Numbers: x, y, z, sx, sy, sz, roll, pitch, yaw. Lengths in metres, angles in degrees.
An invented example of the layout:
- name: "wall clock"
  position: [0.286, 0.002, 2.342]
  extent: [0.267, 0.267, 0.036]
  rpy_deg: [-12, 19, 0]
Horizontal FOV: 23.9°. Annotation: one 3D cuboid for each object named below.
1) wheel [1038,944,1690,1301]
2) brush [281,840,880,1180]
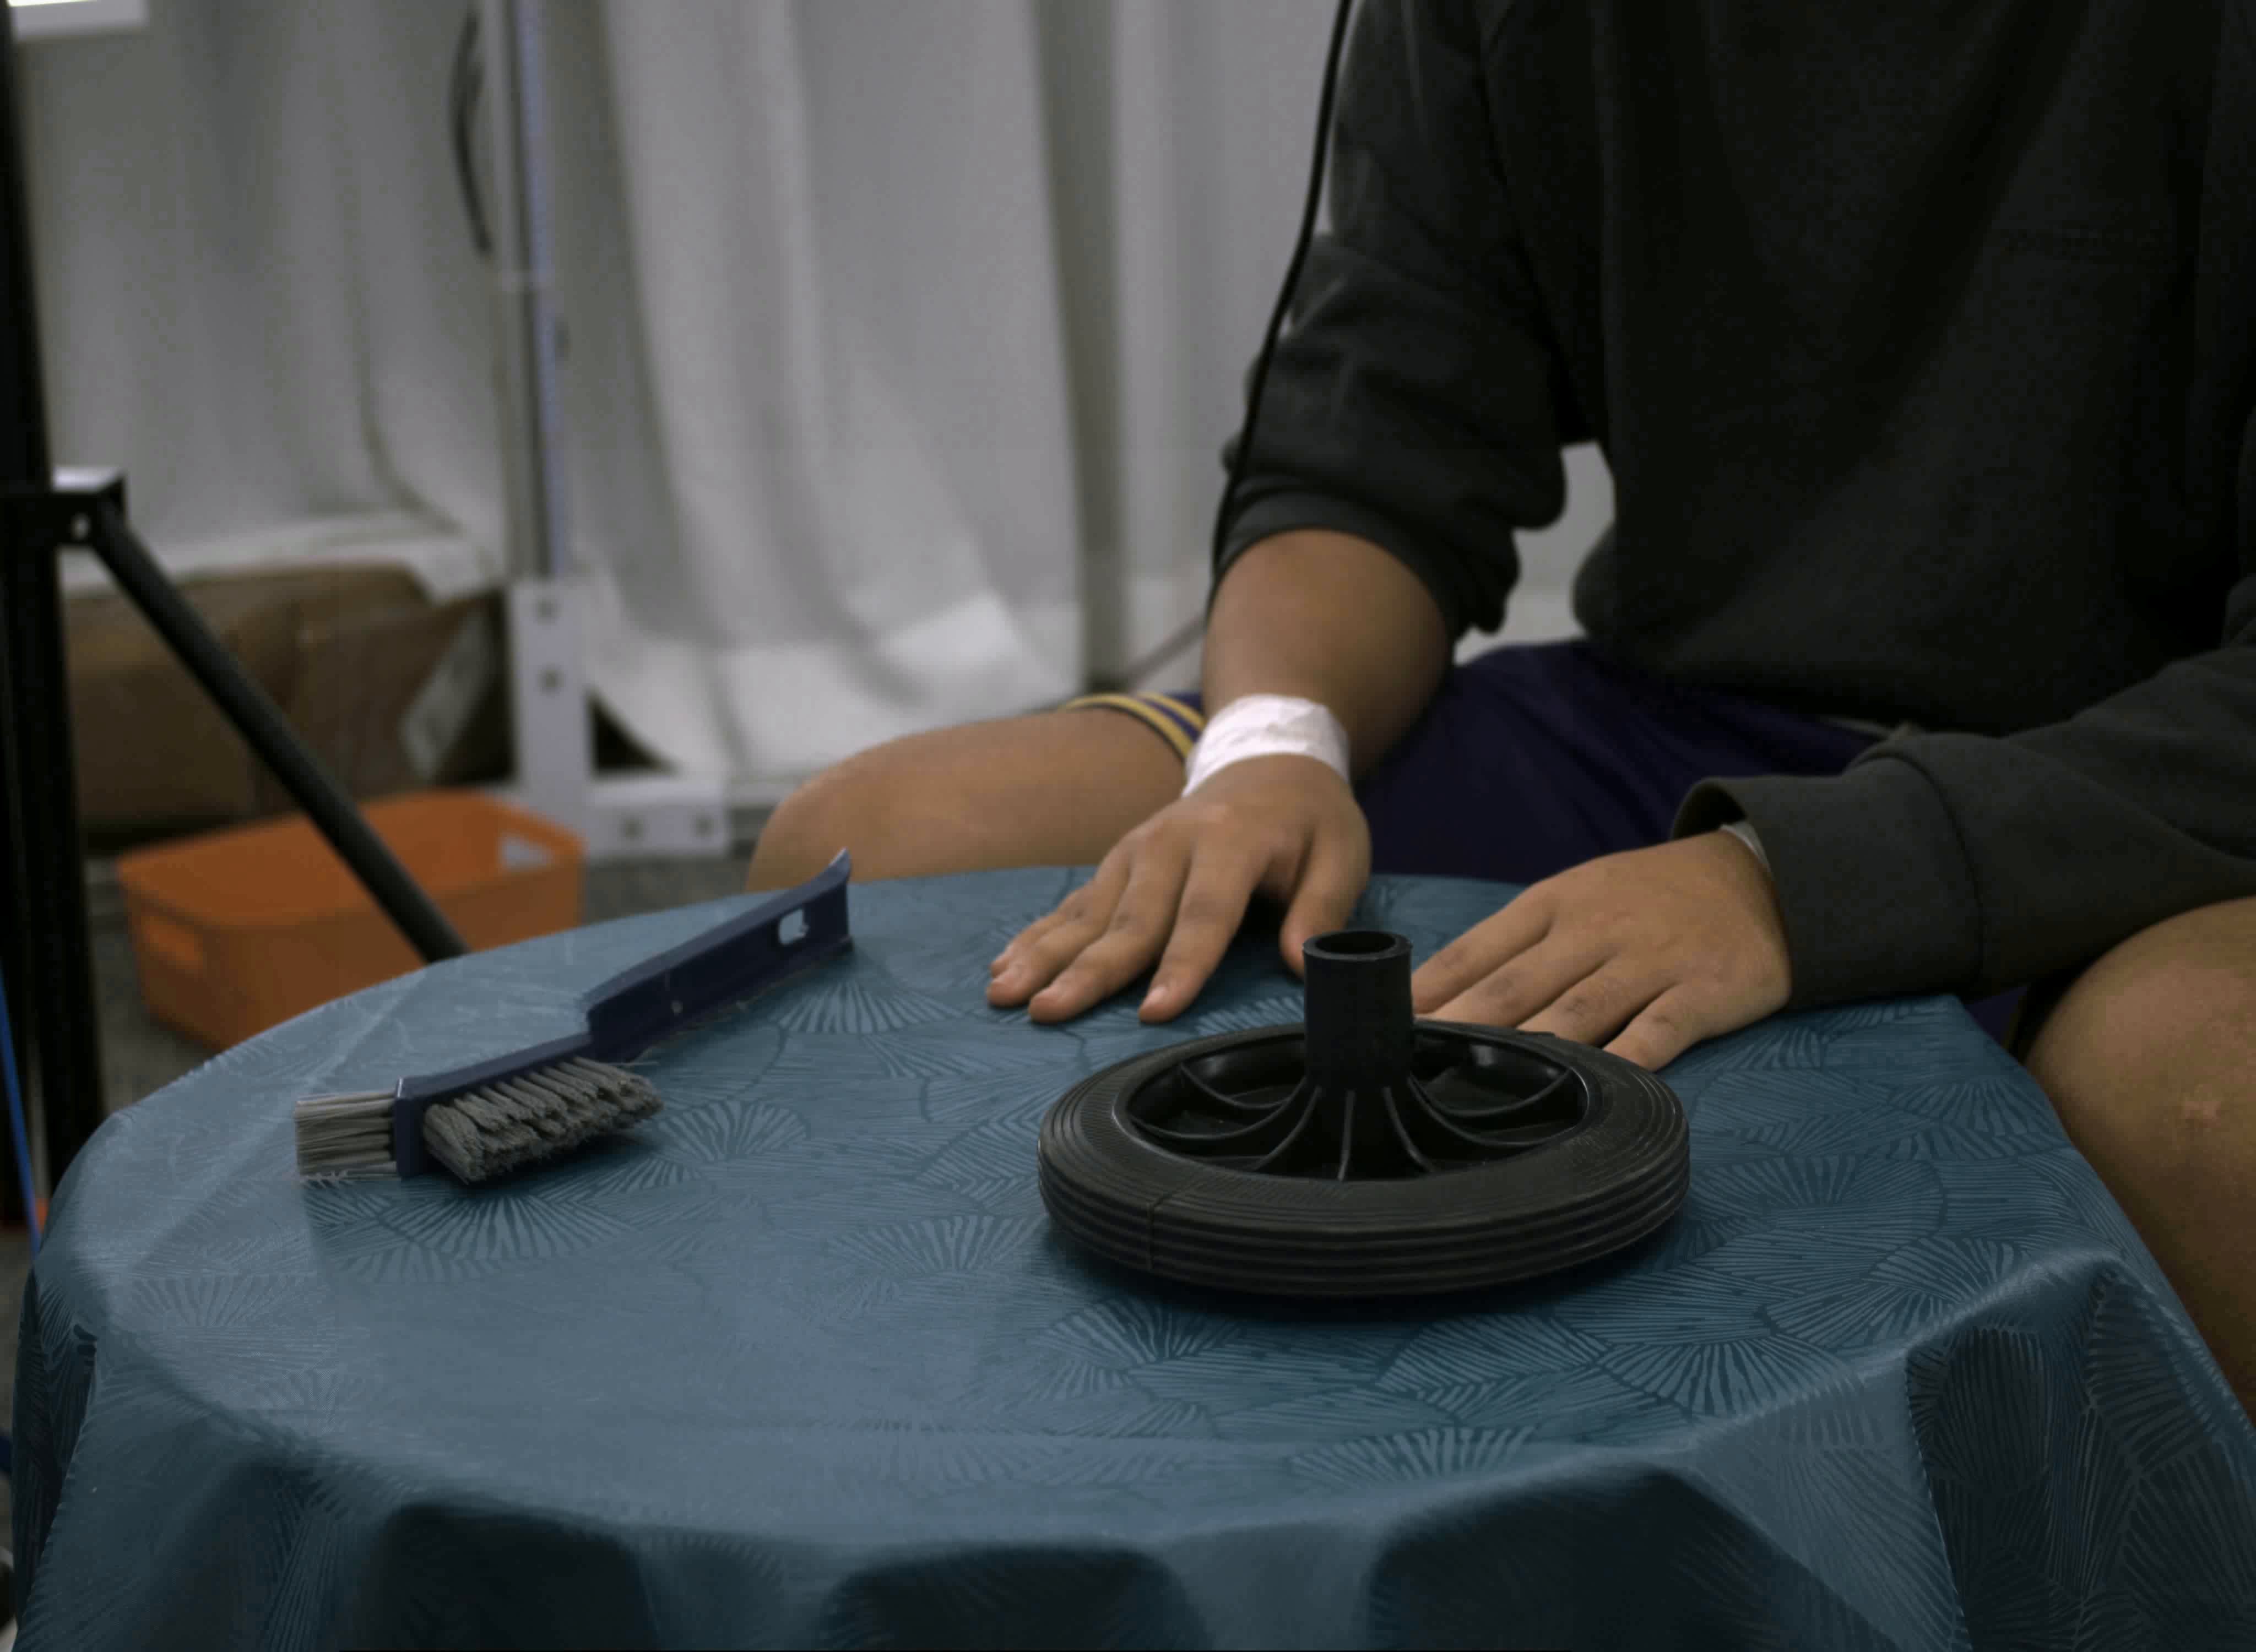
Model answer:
- name: "wheel"
  position: [0.067, 0.076, 1.522]
  extent: [0.185, 0.079, 0.192]
  rpy_deg: [-6, 15, -11]
- name: "brush"
  position: [-0.164, 0.058, 1.706]
  extent: [0.097, 0.033, 0.270]
  rpy_deg: [3, 18, 22]
